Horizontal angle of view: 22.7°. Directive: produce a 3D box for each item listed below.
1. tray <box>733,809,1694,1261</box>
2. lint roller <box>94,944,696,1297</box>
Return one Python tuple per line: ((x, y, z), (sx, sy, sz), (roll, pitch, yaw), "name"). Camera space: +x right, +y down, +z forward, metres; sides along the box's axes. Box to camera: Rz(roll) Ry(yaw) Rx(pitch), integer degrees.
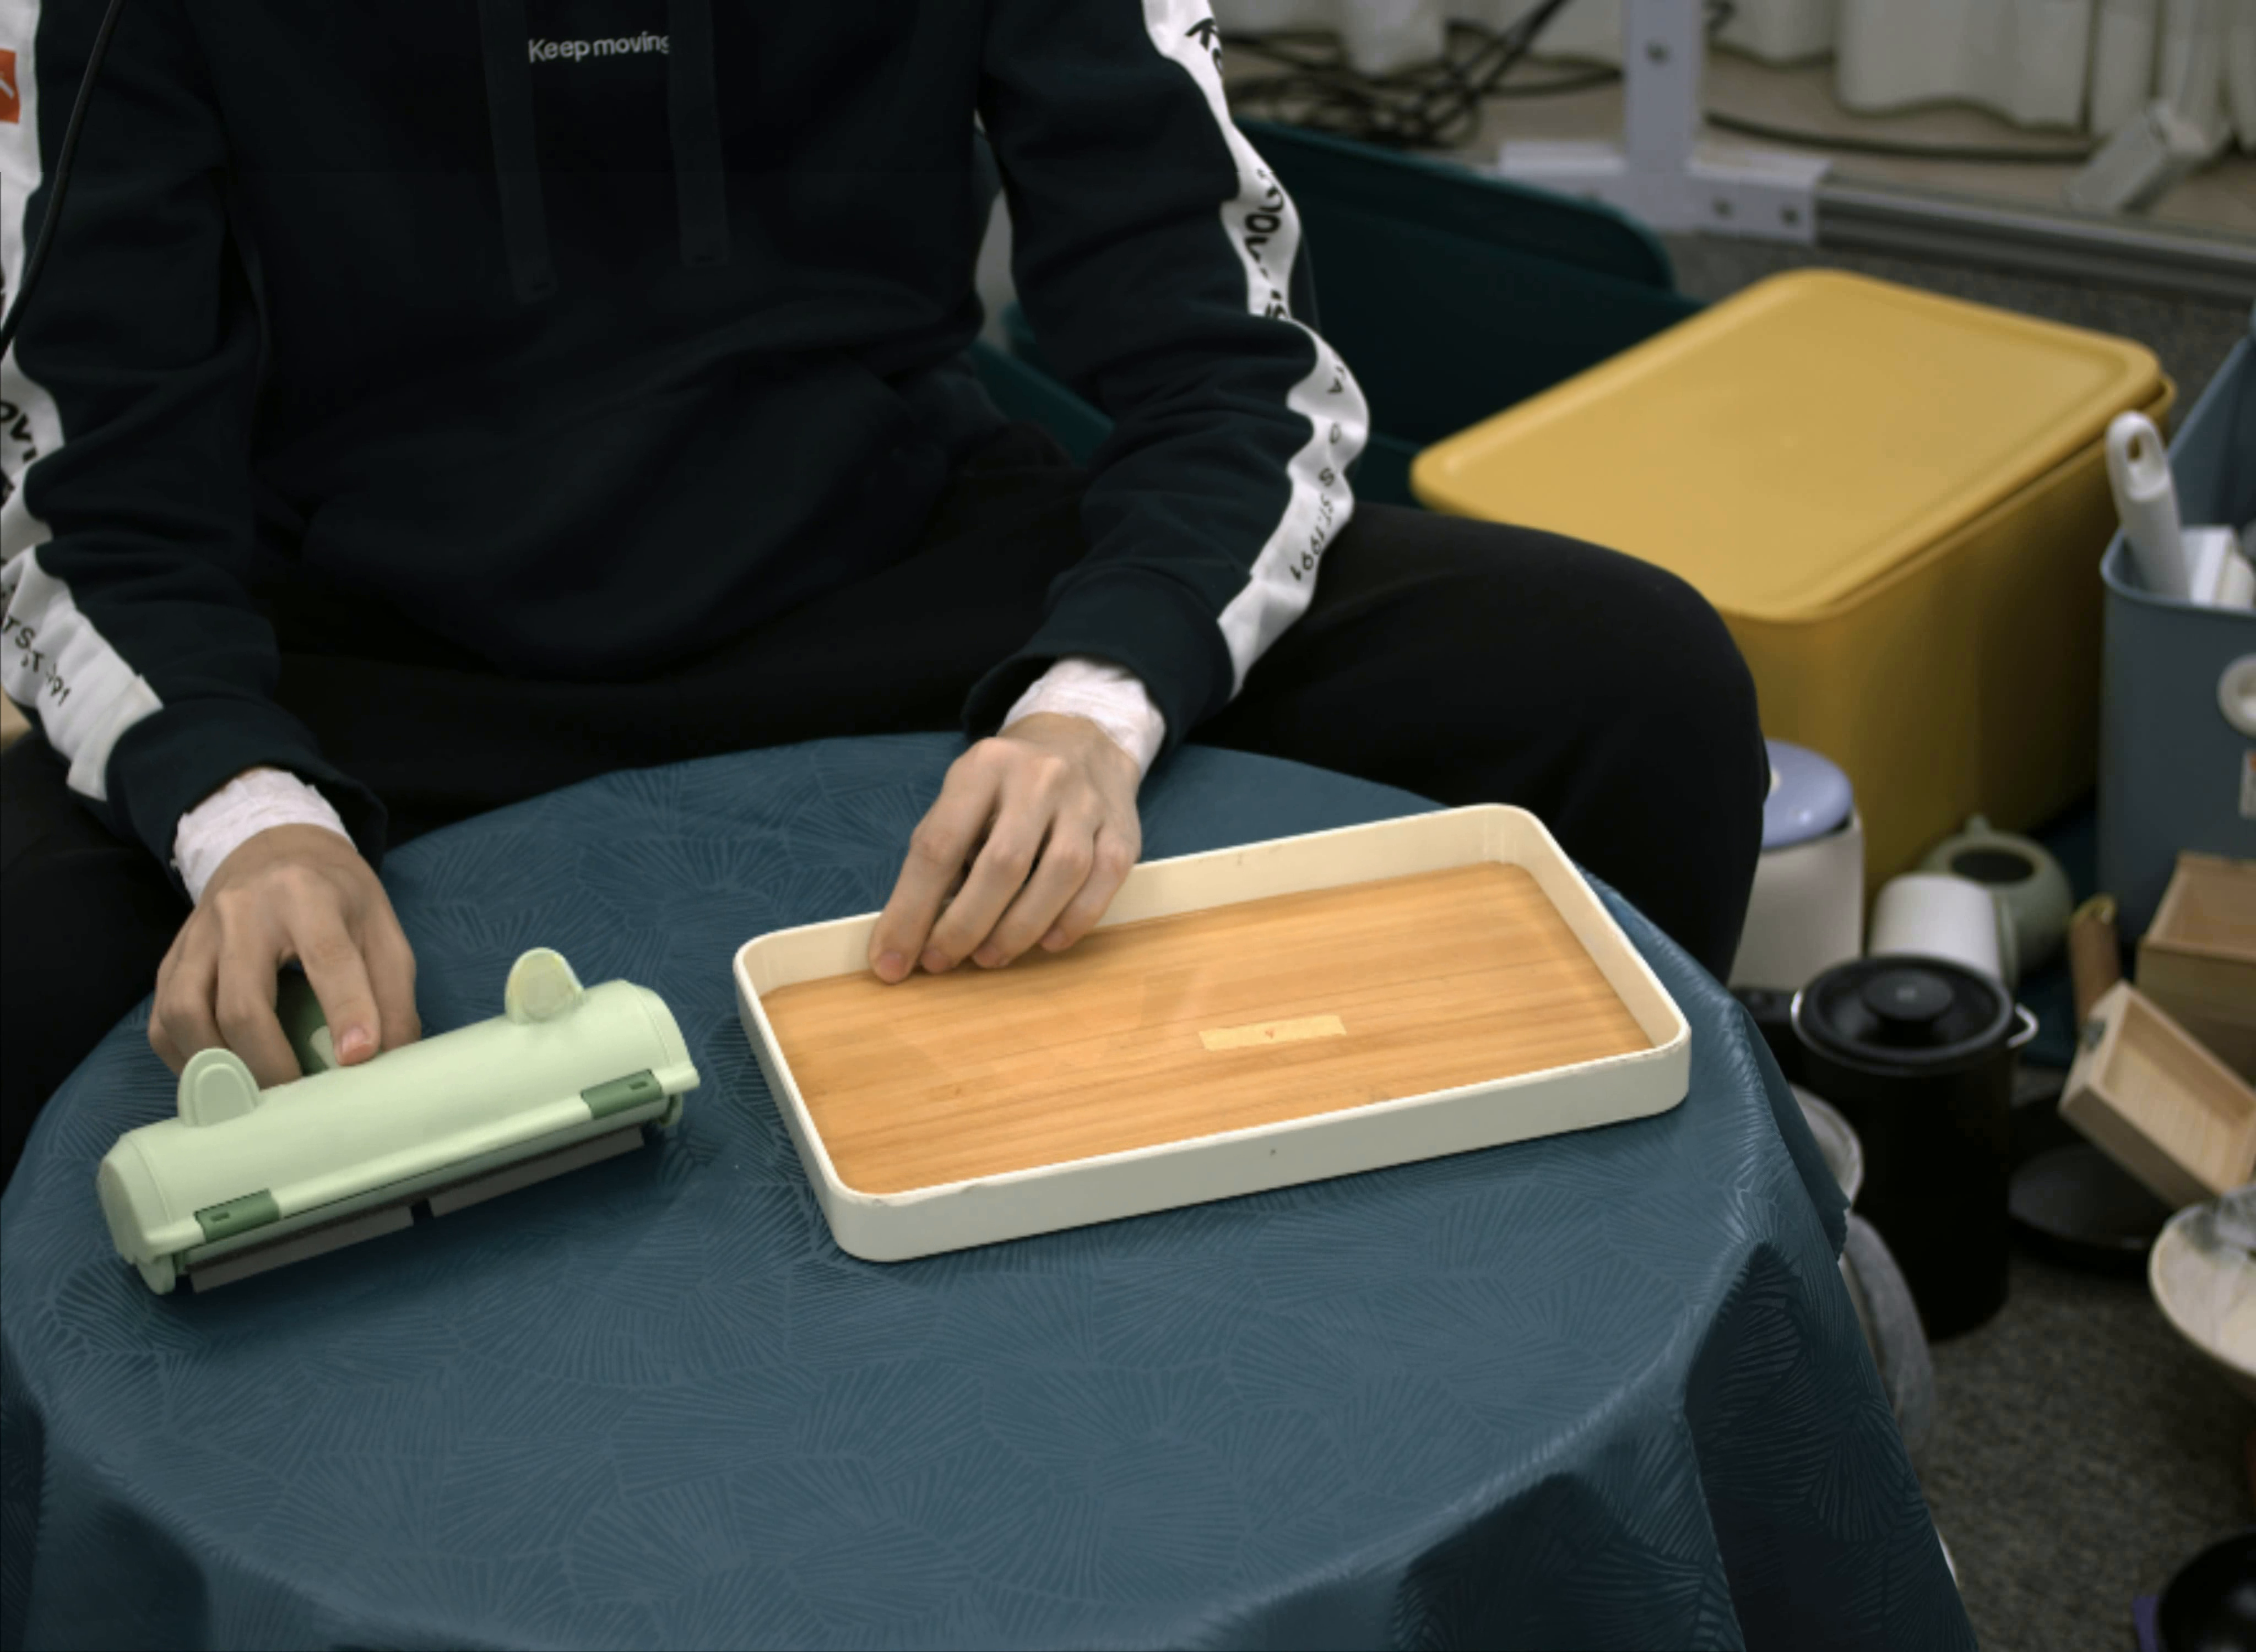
((0.026, 0.069, 1.931), (0.300, 0.027, 0.193), (-10, 28, -13), "tray")
((-0.268, 0.071, 1.897), (0.200, 0.081, 0.184), (-18, 36, -23), "lint roller")
